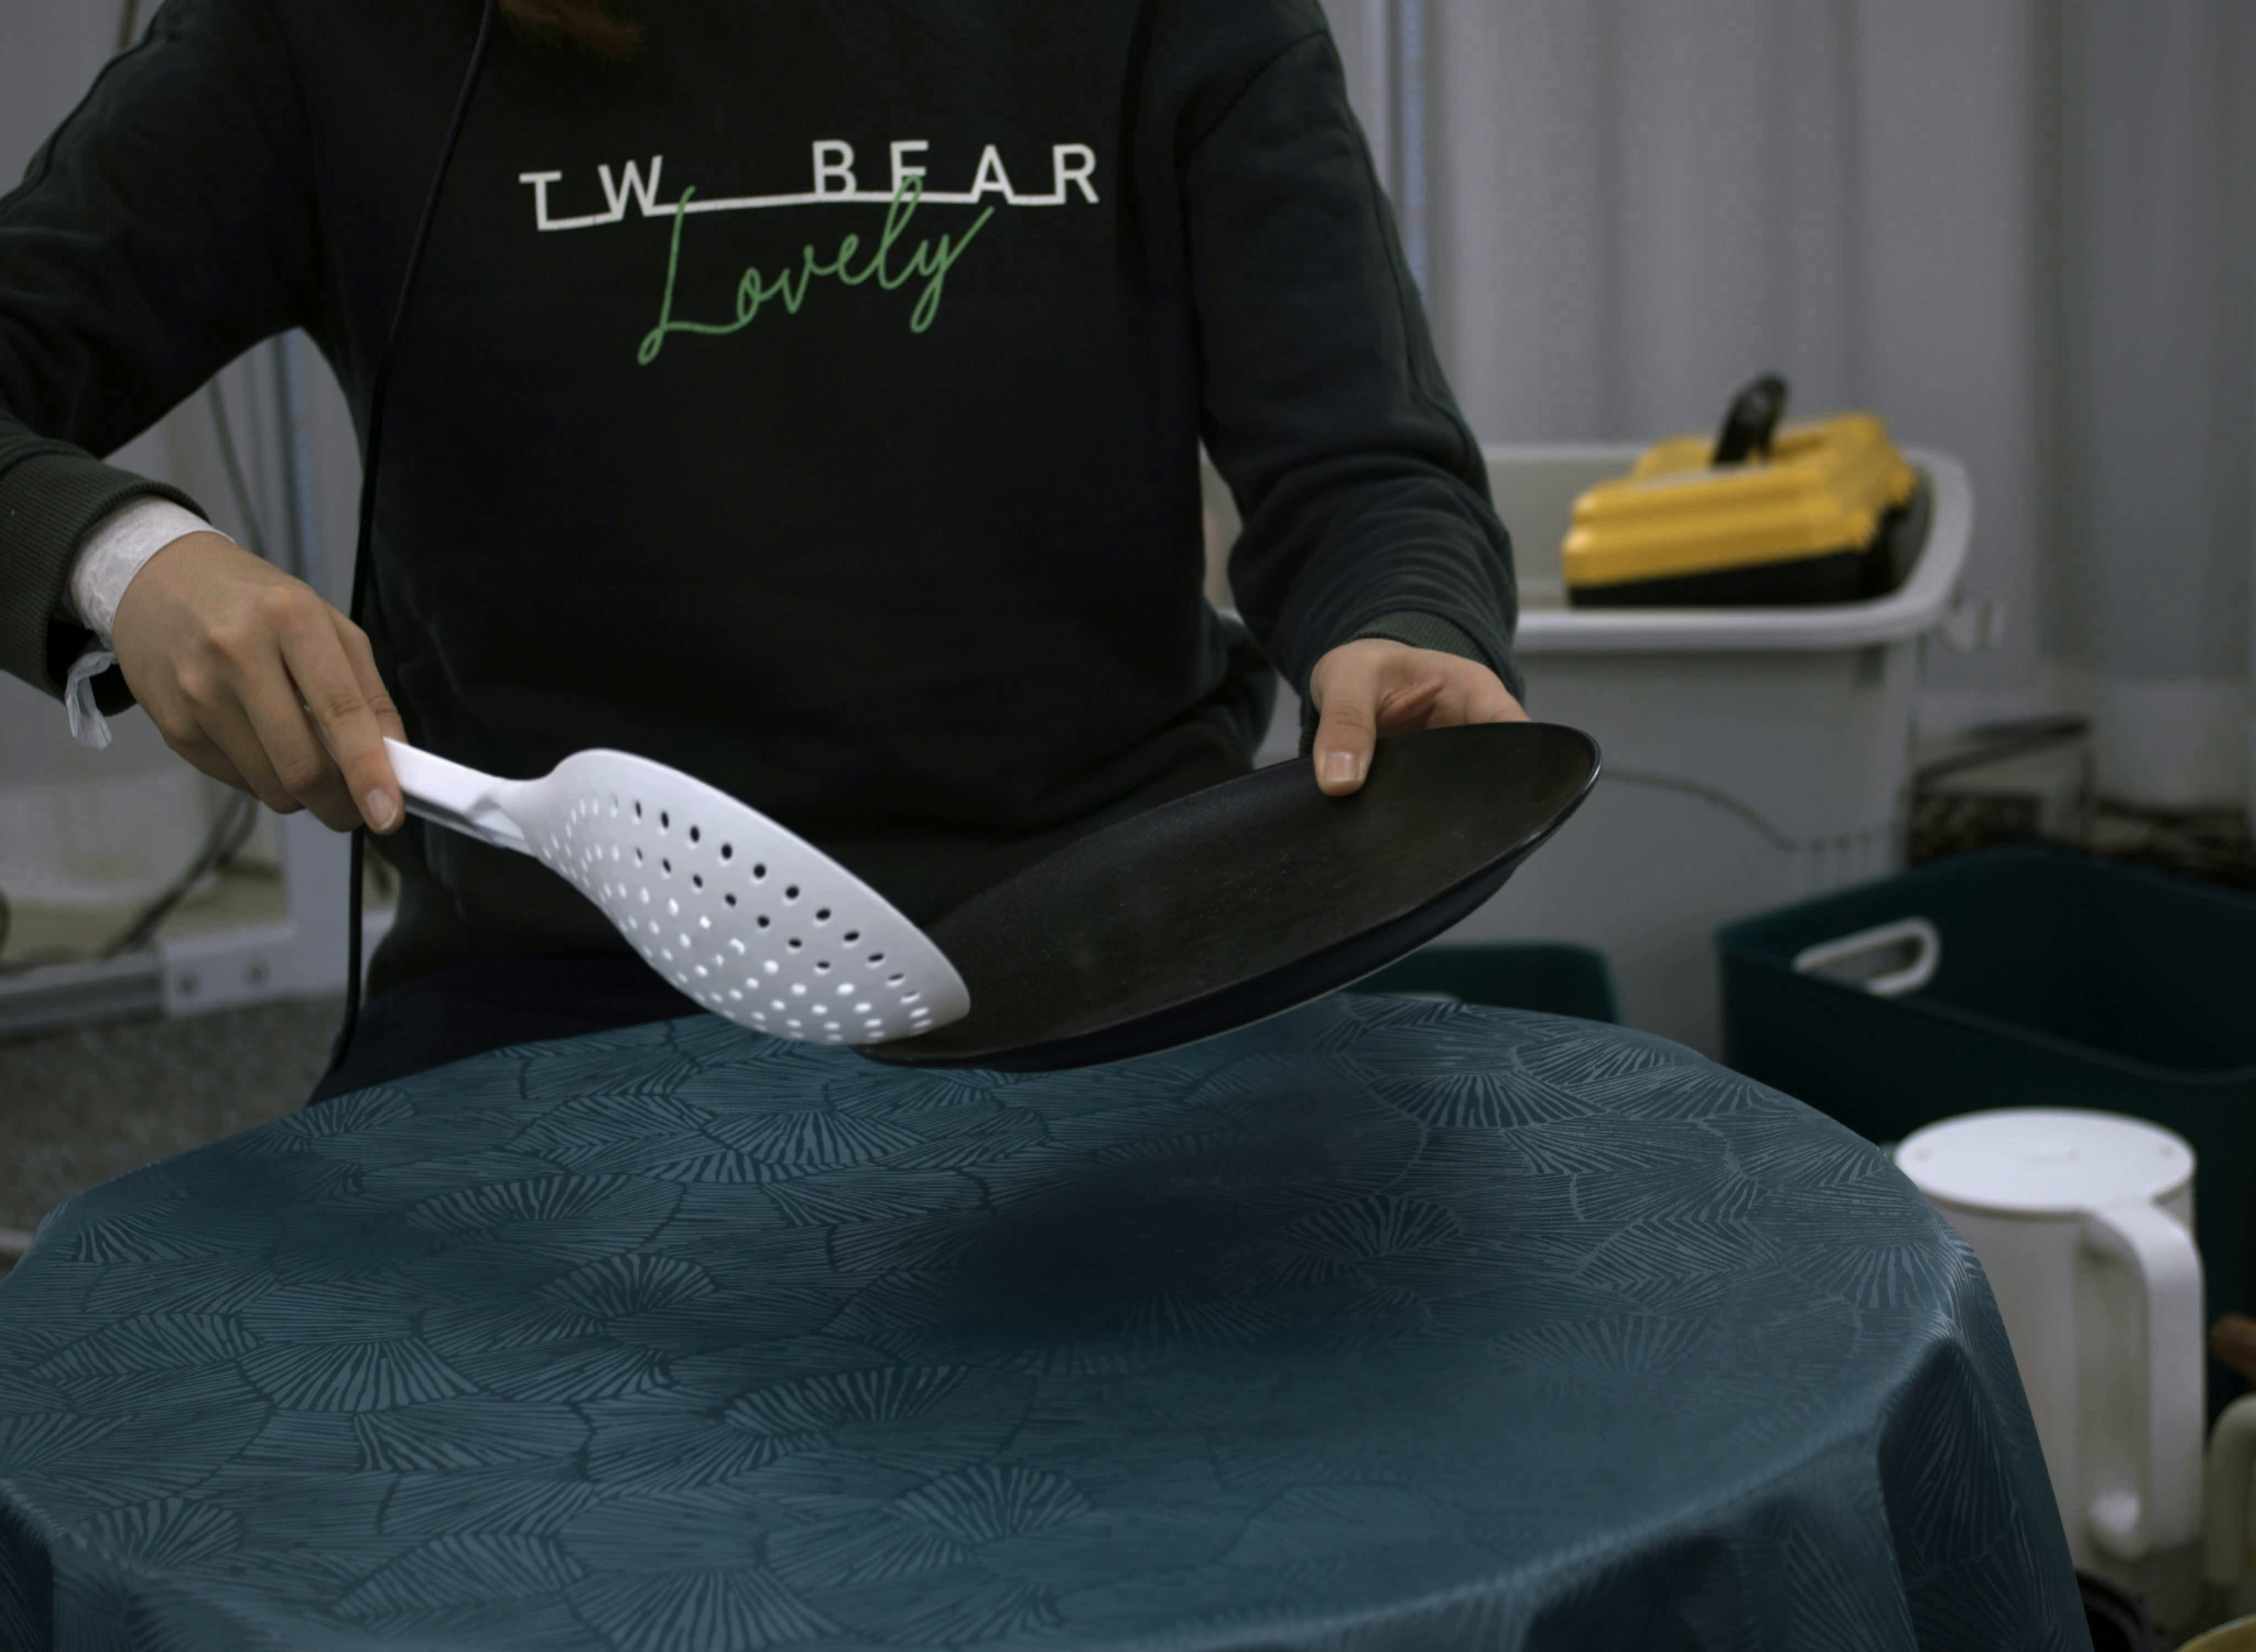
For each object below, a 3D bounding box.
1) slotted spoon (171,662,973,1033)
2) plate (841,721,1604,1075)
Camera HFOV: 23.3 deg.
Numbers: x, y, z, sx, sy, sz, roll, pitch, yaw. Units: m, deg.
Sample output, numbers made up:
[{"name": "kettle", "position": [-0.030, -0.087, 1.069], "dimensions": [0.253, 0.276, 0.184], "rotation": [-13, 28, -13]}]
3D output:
[{"name": "slotted spoon", "position": [-0.182, -0.004, 1.667], "dimensions": [0.352, 0.134, 0.046], "rotation": [23, 71, 45]}, {"name": "plate", "position": [0.031, 0.026, 1.644], "dimensions": [0.244, 0.023, 0.246], "rotation": [-20, 13, 4]}]
